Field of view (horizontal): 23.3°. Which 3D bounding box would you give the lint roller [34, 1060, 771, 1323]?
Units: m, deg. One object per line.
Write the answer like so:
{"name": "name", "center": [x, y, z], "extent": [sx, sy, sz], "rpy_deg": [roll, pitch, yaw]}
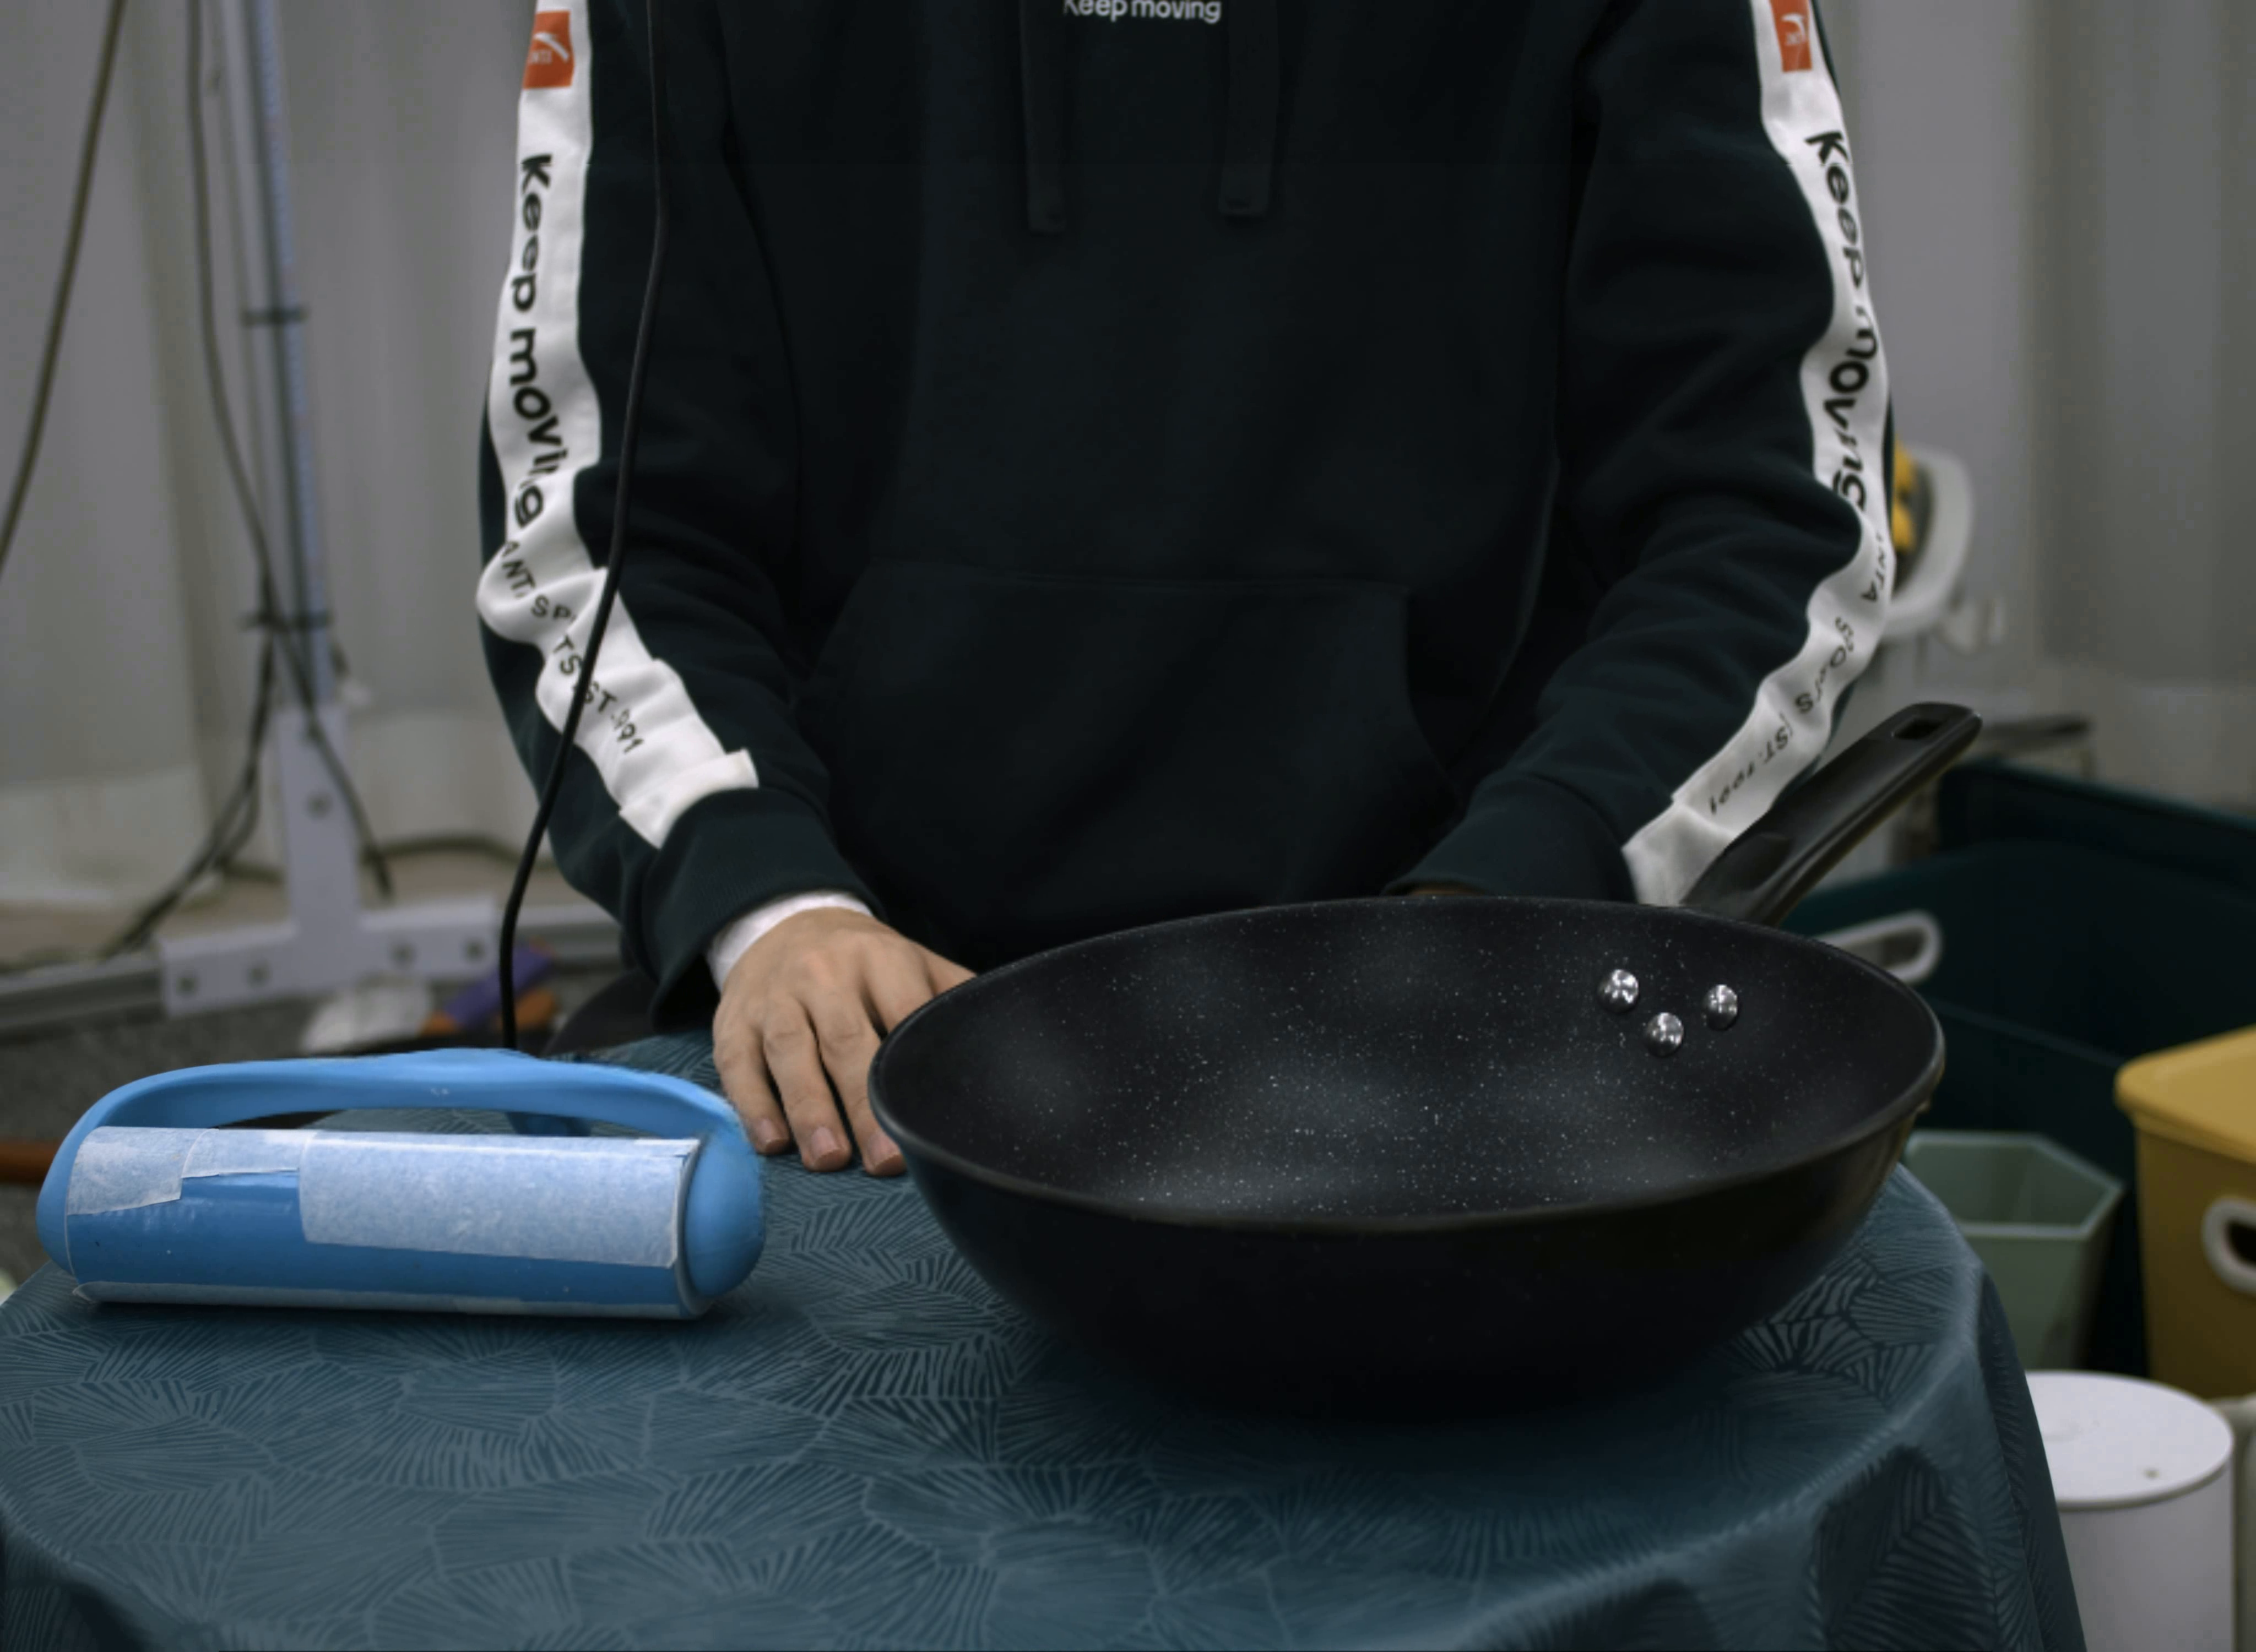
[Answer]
{"name": "lint roller", "center": [-0.209, 0.103, 1.693], "extent": [0.228, 0.067, 0.181], "rpy_deg": [-3, 16, 10]}

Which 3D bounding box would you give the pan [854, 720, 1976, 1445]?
{"name": "pan", "center": [0.127, 0.075, 1.632], "extent": [0.311, 0.111, 0.477], "rpy_deg": [10, 20, 36]}
